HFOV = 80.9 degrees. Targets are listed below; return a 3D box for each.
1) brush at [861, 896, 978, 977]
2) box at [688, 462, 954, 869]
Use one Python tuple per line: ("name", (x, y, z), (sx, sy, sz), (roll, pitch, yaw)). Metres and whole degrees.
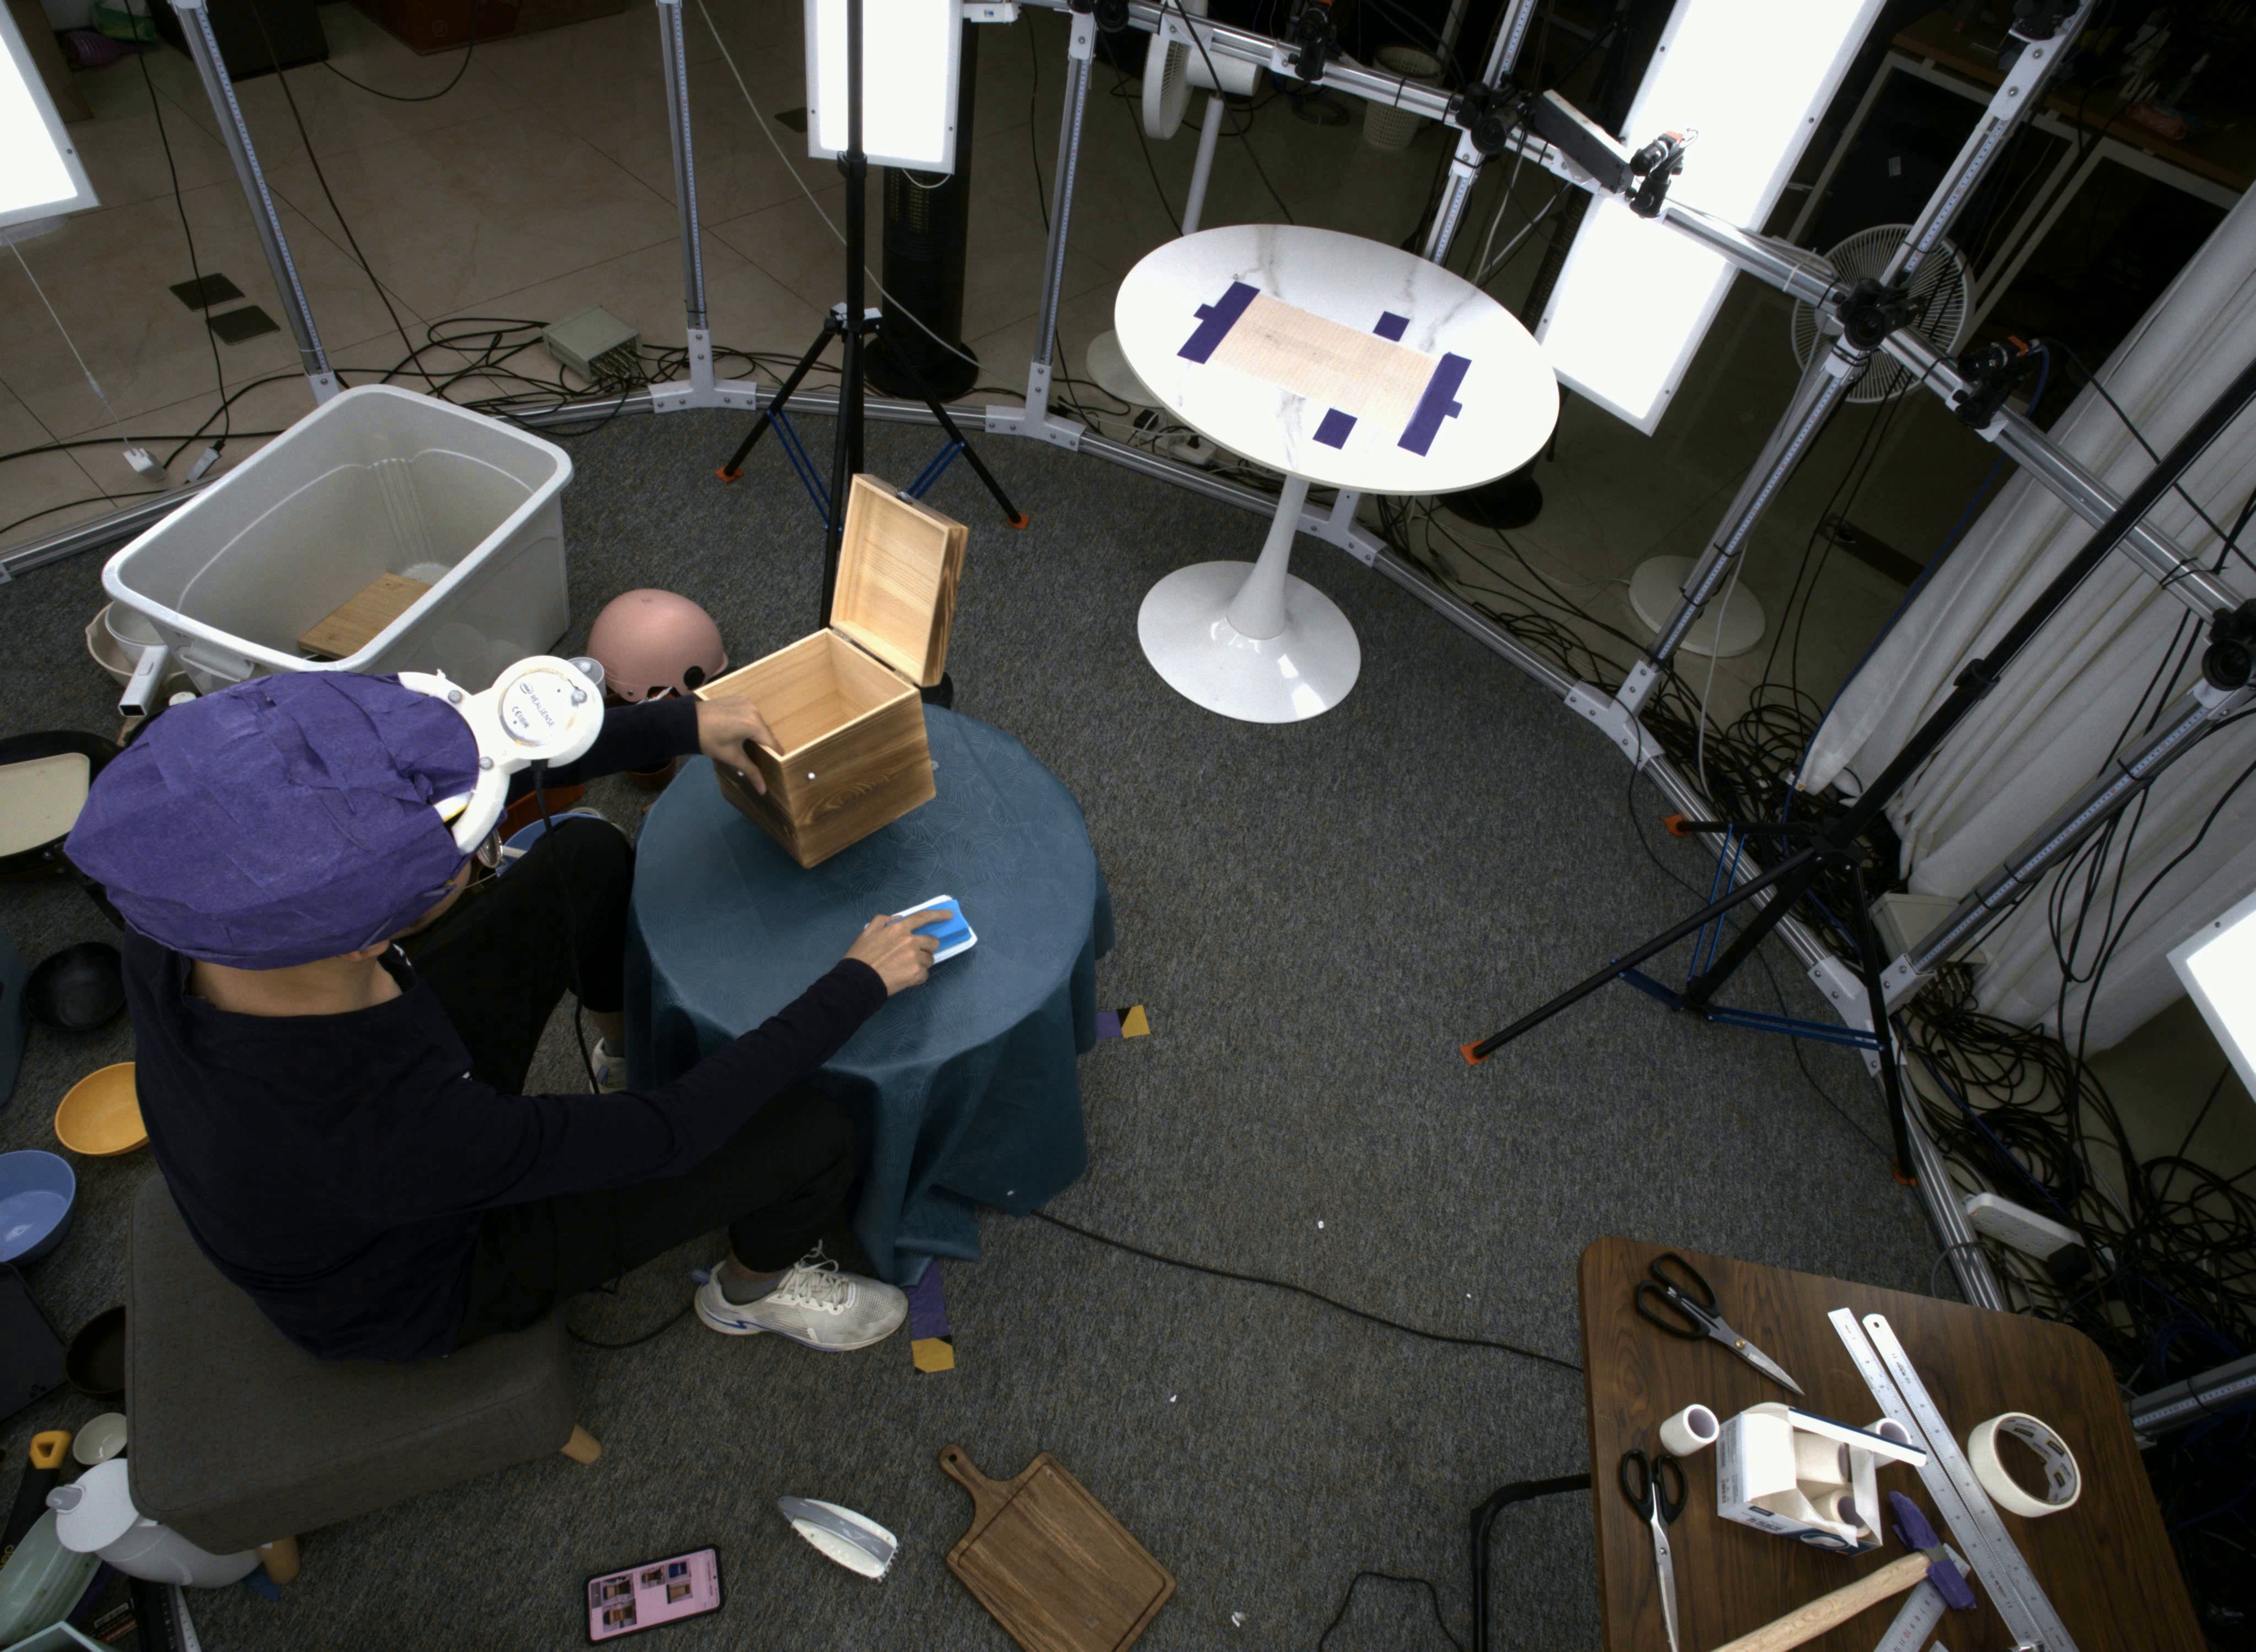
("brush", (-0.251, 0.126, 1.596), (0.145, 0.056, 0.082), (-18, 64, -45))
("box", (-0.363, -0.205, 1.587), (0.323, 0.388, 0.201), (-34, 49, -31))
